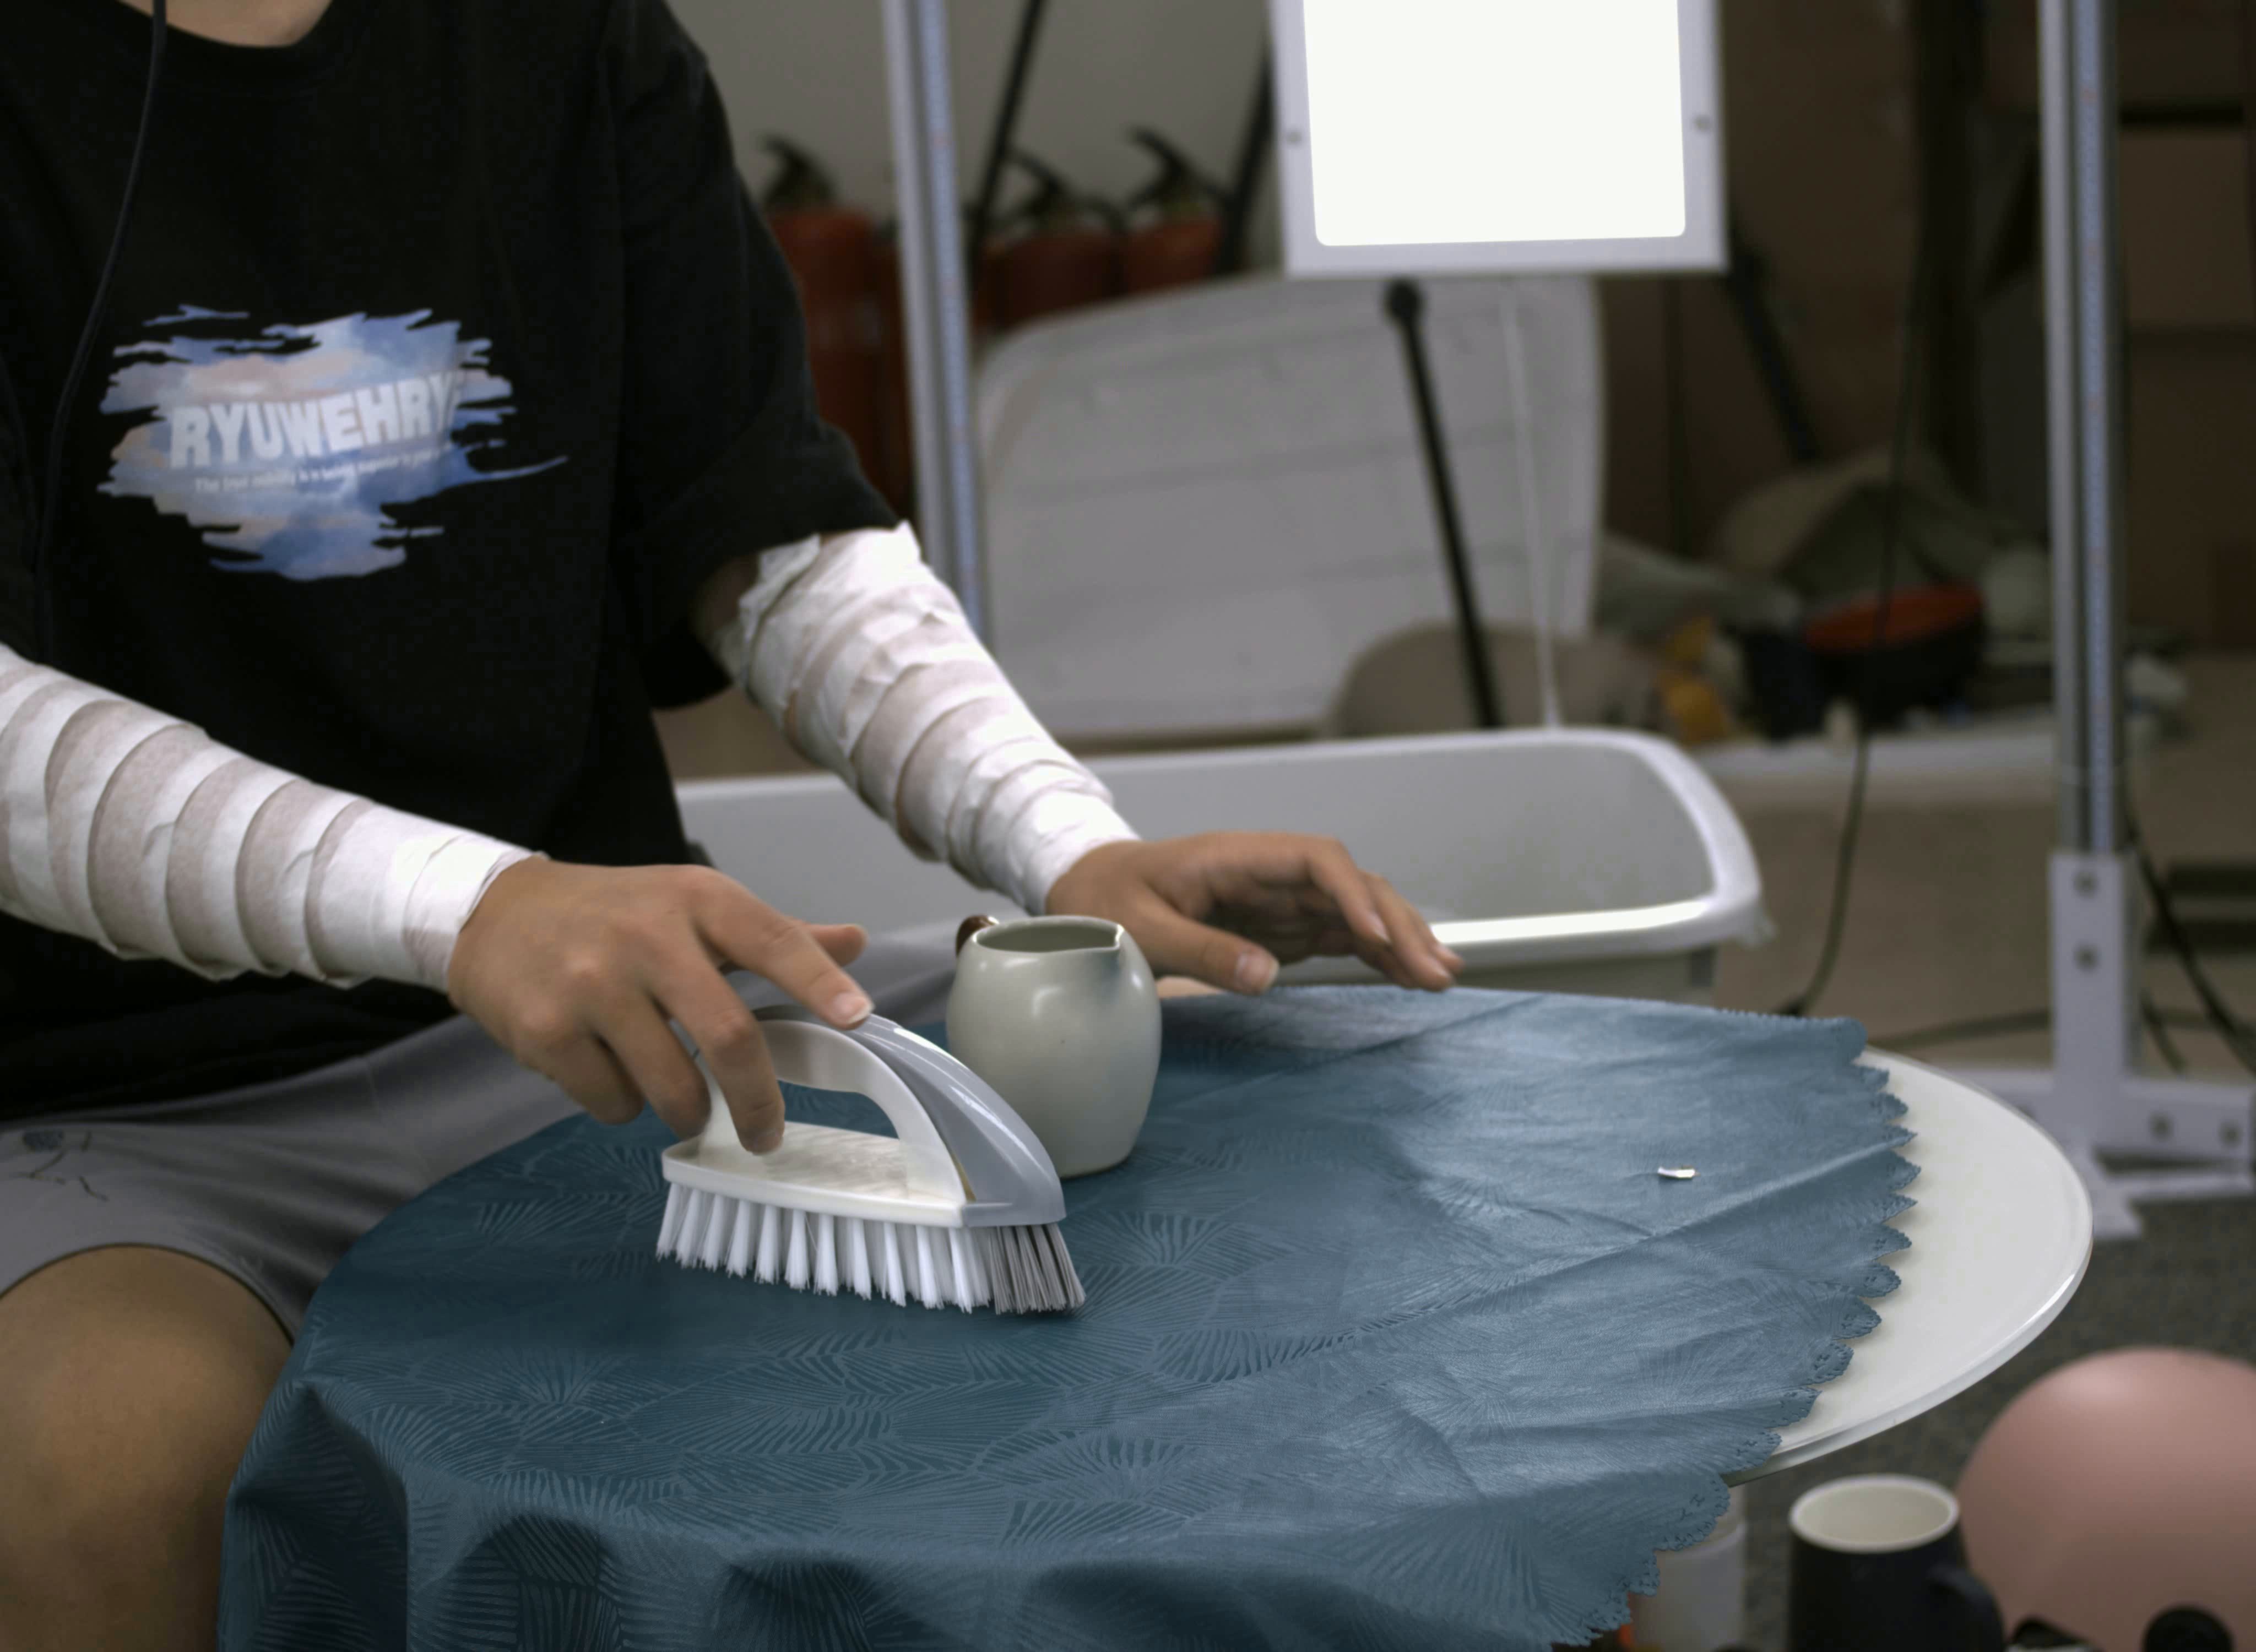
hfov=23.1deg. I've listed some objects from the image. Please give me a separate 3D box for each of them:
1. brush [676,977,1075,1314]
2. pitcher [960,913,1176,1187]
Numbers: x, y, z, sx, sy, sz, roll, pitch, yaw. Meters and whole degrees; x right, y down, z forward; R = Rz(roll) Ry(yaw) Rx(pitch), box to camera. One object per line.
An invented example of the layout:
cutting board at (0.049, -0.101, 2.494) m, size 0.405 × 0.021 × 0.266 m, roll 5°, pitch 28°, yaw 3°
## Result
brush at (-0.081, 0.102, 1.827) m, size 0.060 × 0.094 × 0.179 m, roll -18°, pitch 23°, yaw -40°
pitcher at (-0.024, 0.076, 1.930) m, size 0.074 × 0.088 × 0.121 m, roll -7°, pitch 15°, yaw -24°
